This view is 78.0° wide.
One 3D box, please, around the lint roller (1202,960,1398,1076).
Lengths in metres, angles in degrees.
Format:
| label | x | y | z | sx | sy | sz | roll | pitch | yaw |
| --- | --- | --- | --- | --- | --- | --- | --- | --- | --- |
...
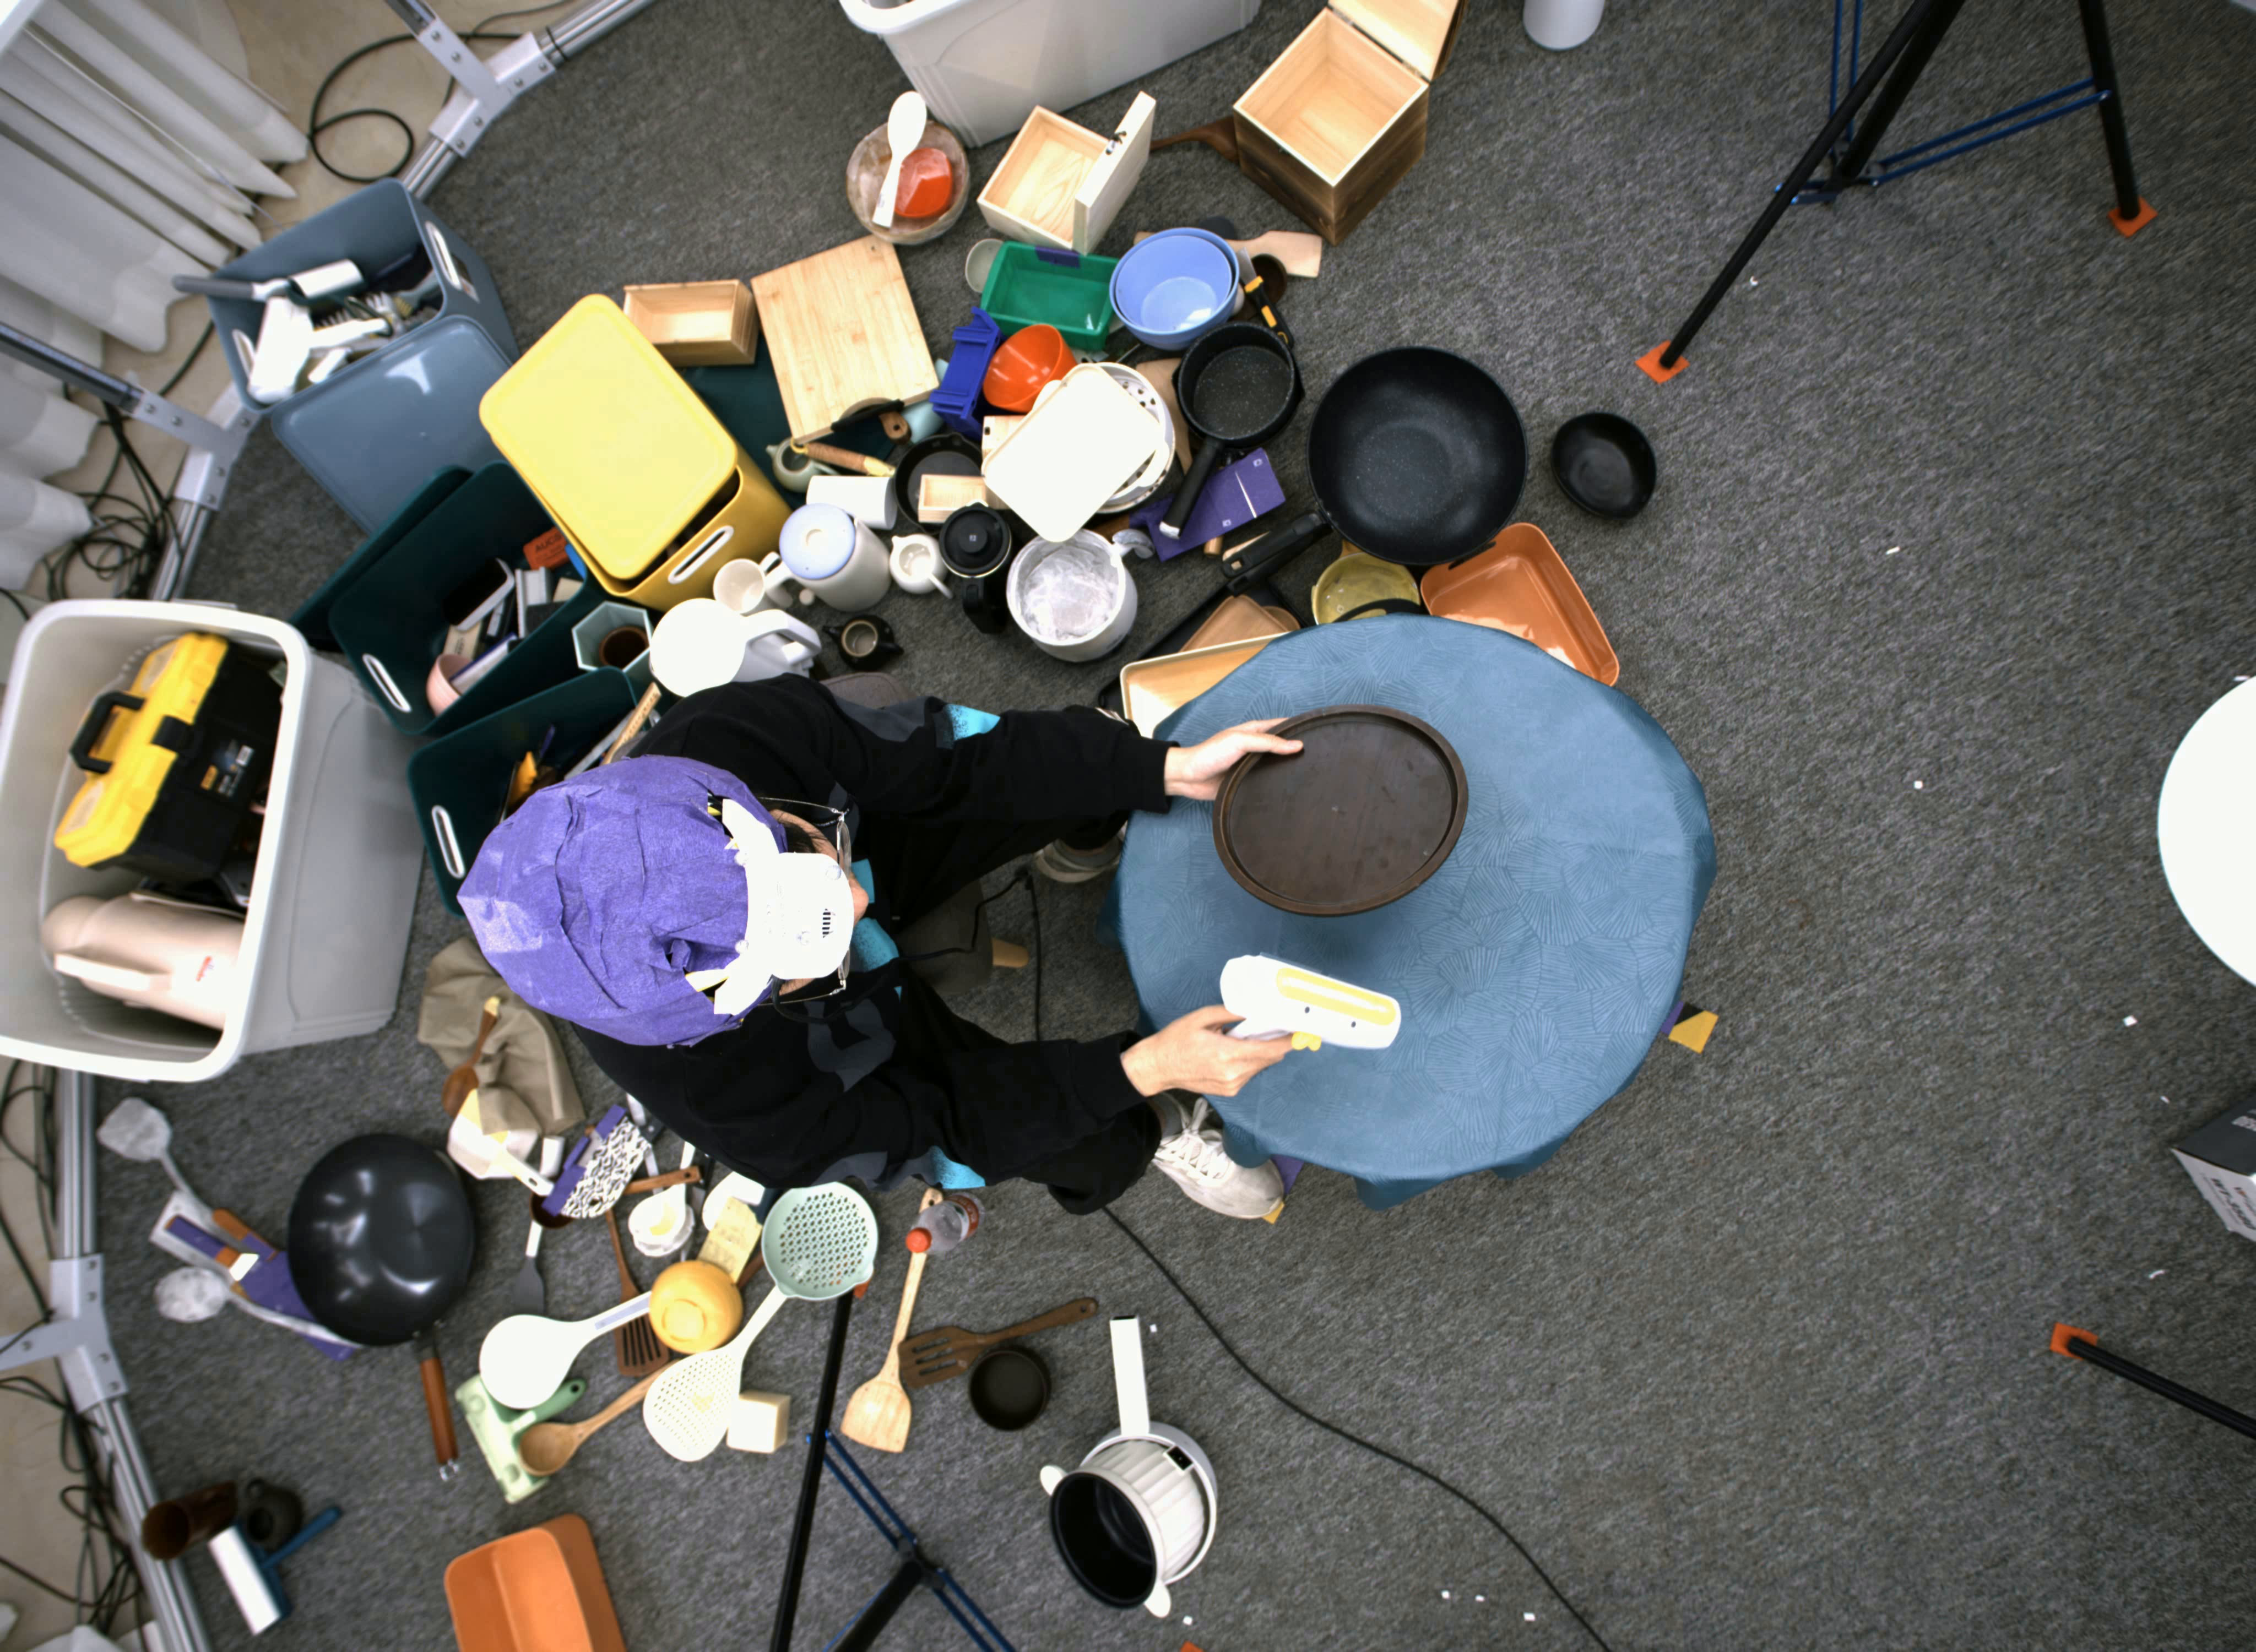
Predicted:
| label | x | y | z | sx | sy | sz | roll | pitch | yaw |
| --- | --- | --- | --- | --- | --- | --- | --- | --- | --- |
| lint roller | 0.134 | 0.190 | 1.319 | 0.193 | 0.196 | 0.073 | 13 | 65 | -28 |

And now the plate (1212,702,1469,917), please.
| label | x | y | z | sx | sy | sz | roll | pitch | yaw |
| --- | --- | --- | --- | --- | --- | --- | --- | --- | --- |
| plate | 0.206 | -0.019 | 1.350 | 0.257 | 0.029 | 0.248 | -12 | 52 | 16 |
